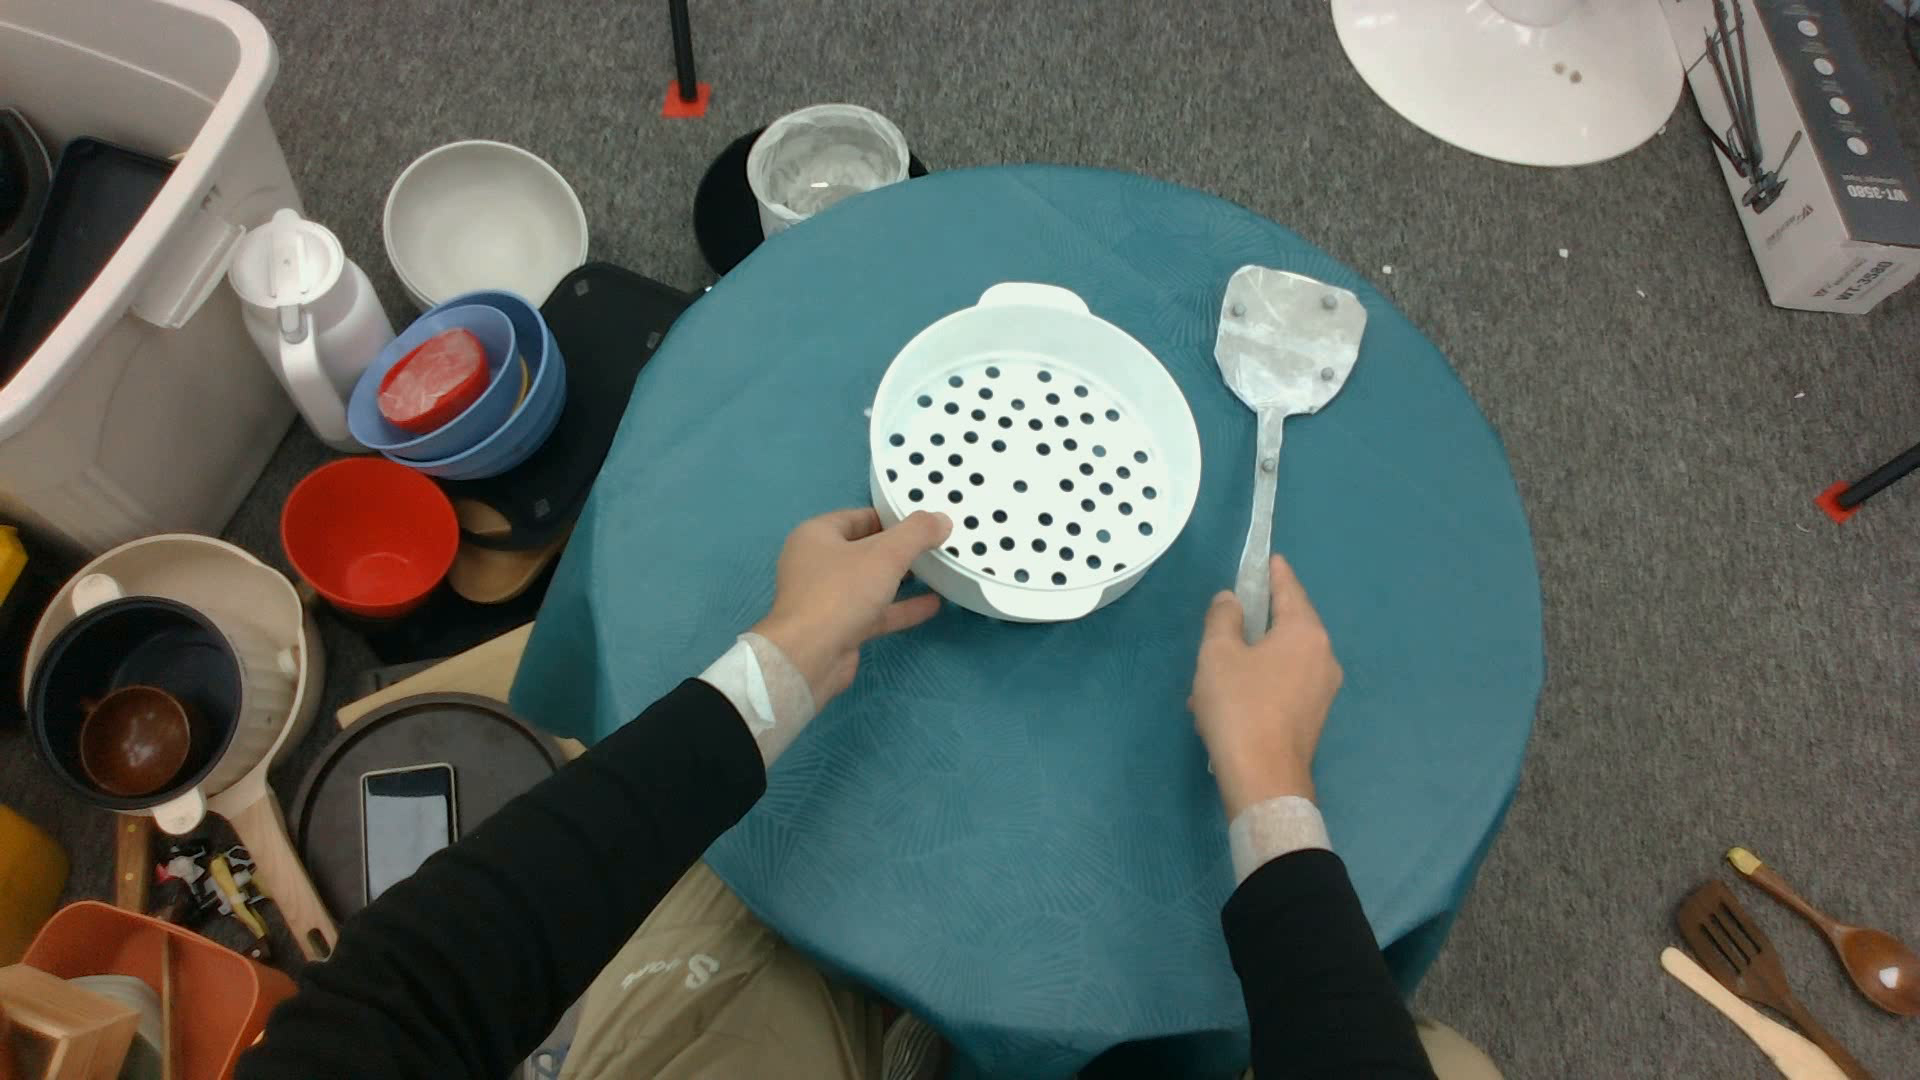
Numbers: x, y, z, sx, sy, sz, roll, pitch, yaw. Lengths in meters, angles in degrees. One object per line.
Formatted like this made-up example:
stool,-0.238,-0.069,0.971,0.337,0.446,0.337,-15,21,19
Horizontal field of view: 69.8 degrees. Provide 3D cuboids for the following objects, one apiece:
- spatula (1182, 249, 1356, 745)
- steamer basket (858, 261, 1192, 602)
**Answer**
spatula,0.182,-0.038,0.855,0.099,0.044,0.366,18,55,-1
steamer basket,0.037,-0.060,0.846,0.202,0.069,0.231,4,65,-6
